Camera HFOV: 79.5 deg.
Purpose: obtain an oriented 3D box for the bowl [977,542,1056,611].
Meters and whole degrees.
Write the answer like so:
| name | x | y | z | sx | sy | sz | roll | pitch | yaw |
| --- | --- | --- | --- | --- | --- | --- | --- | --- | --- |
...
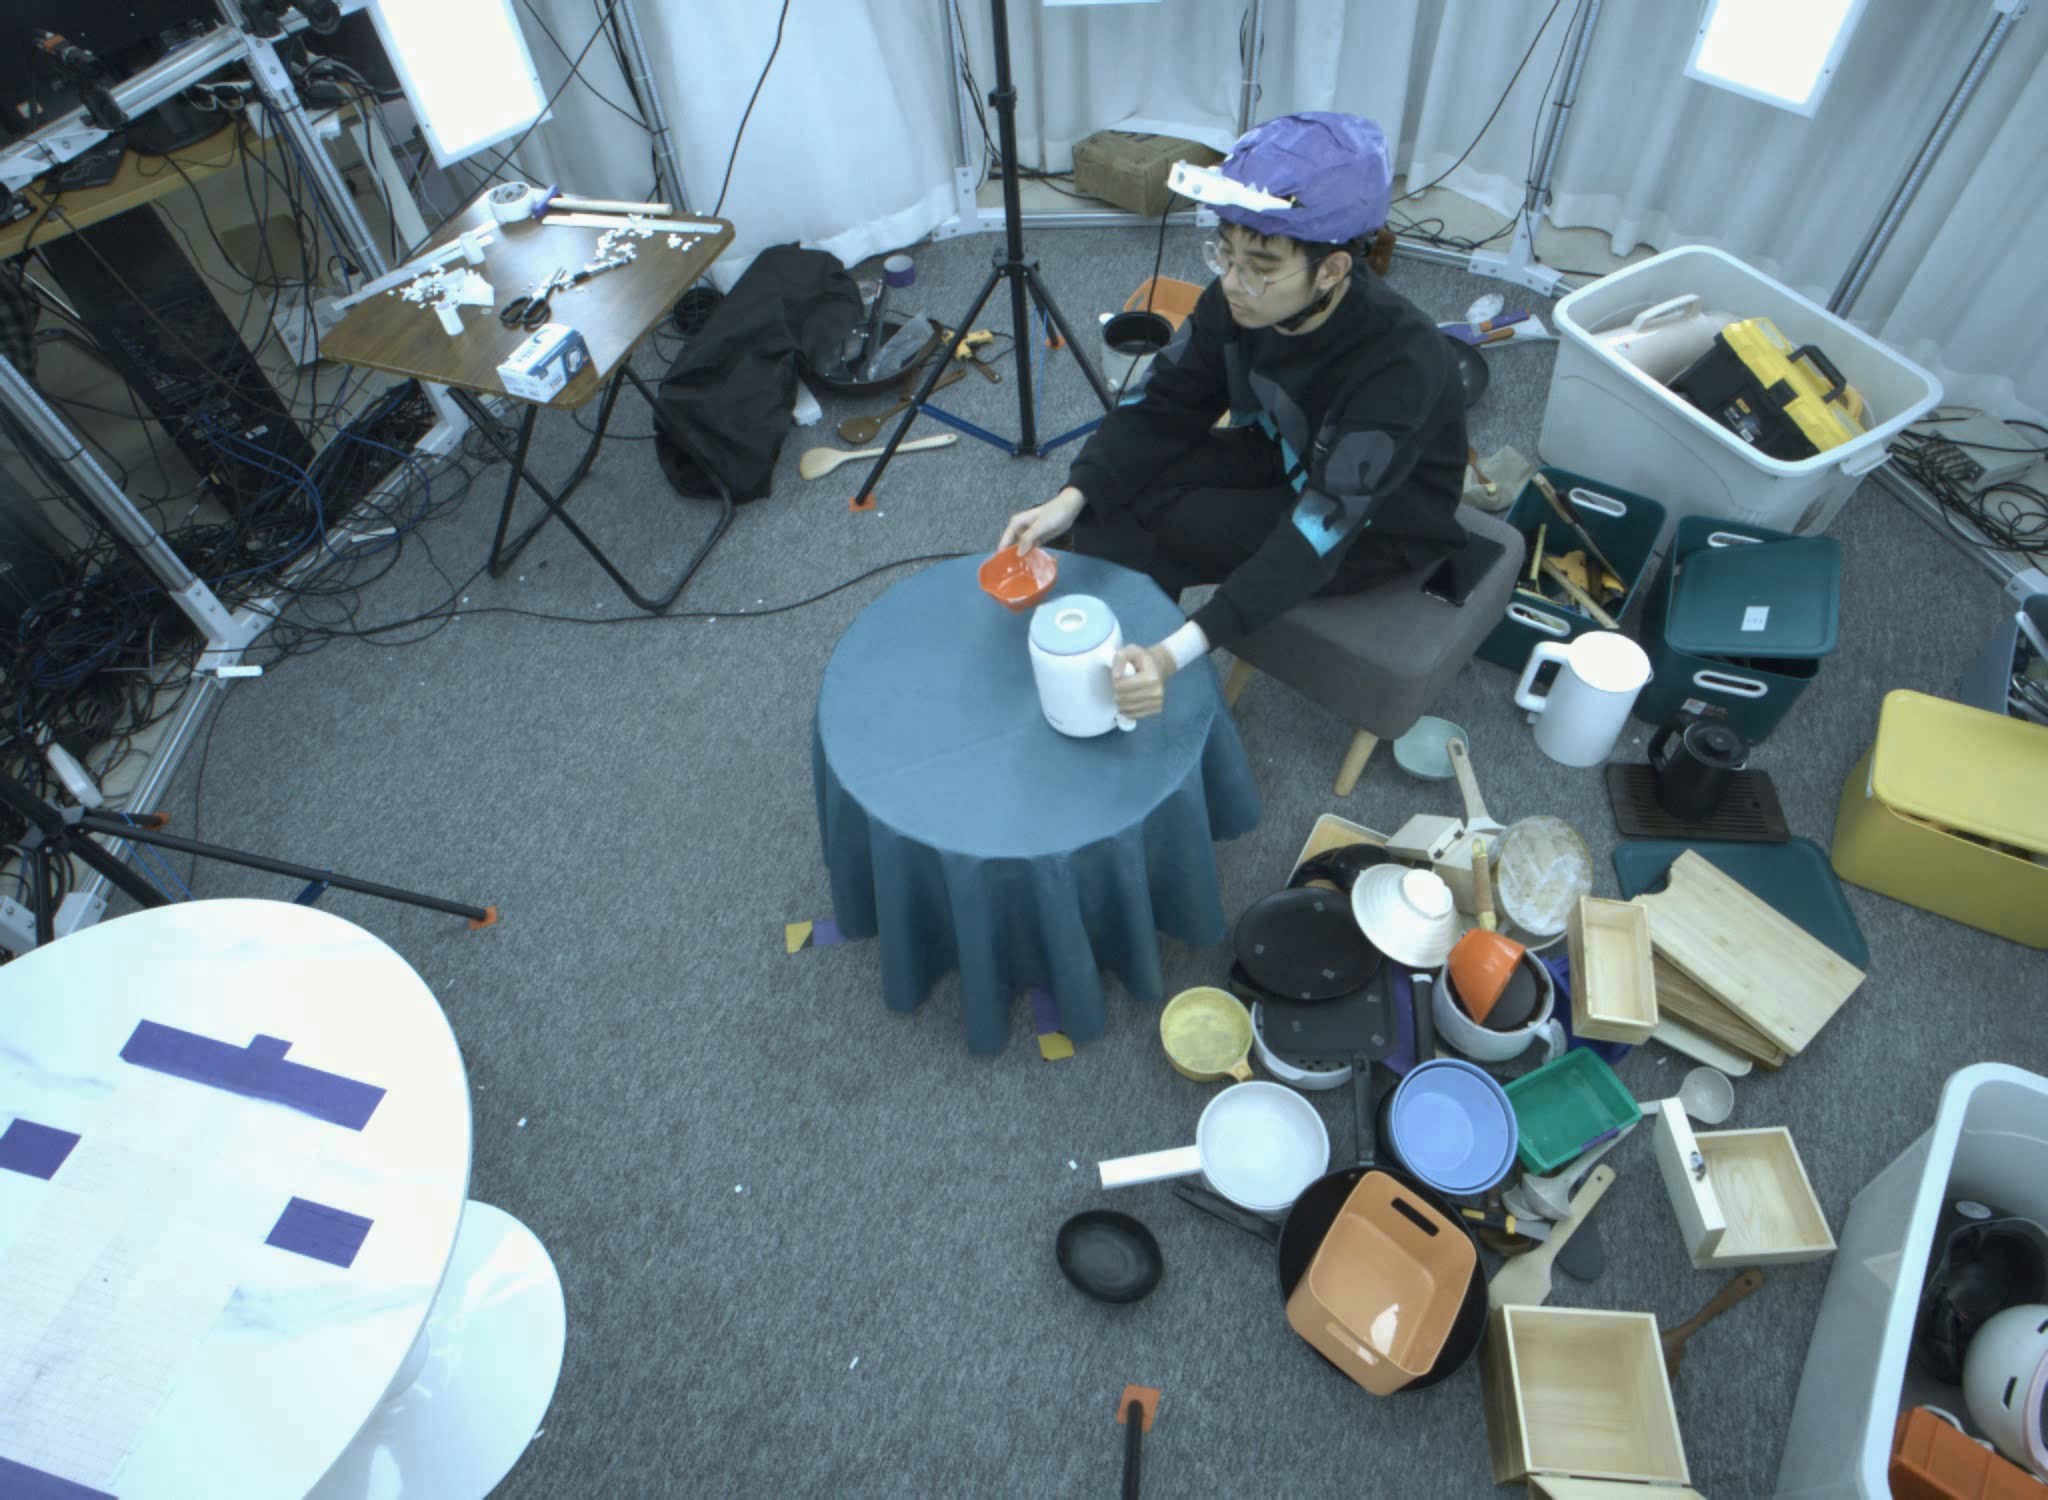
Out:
| name | x | y | z | sx | sy | sz | roll | pitch | yaw |
| --- | --- | --- | --- | --- | --- | --- | --- | --- | --- |
| bowl | -0.008 | -0.253 | 1.838 | 0.118 | 0.052 | 0.117 | -5 | 53 | 7 |

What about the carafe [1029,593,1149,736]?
| name | x | y | z | sx | sy | sz | roll | pitch | yaw |
| --- | --- | --- | --- | --- | --- | --- | --- | --- | --- |
| carafe | 0.098 | -0.109 | 1.741 | 0.187 | 0.185 | 0.133 | 33 | 64 | 29 |
